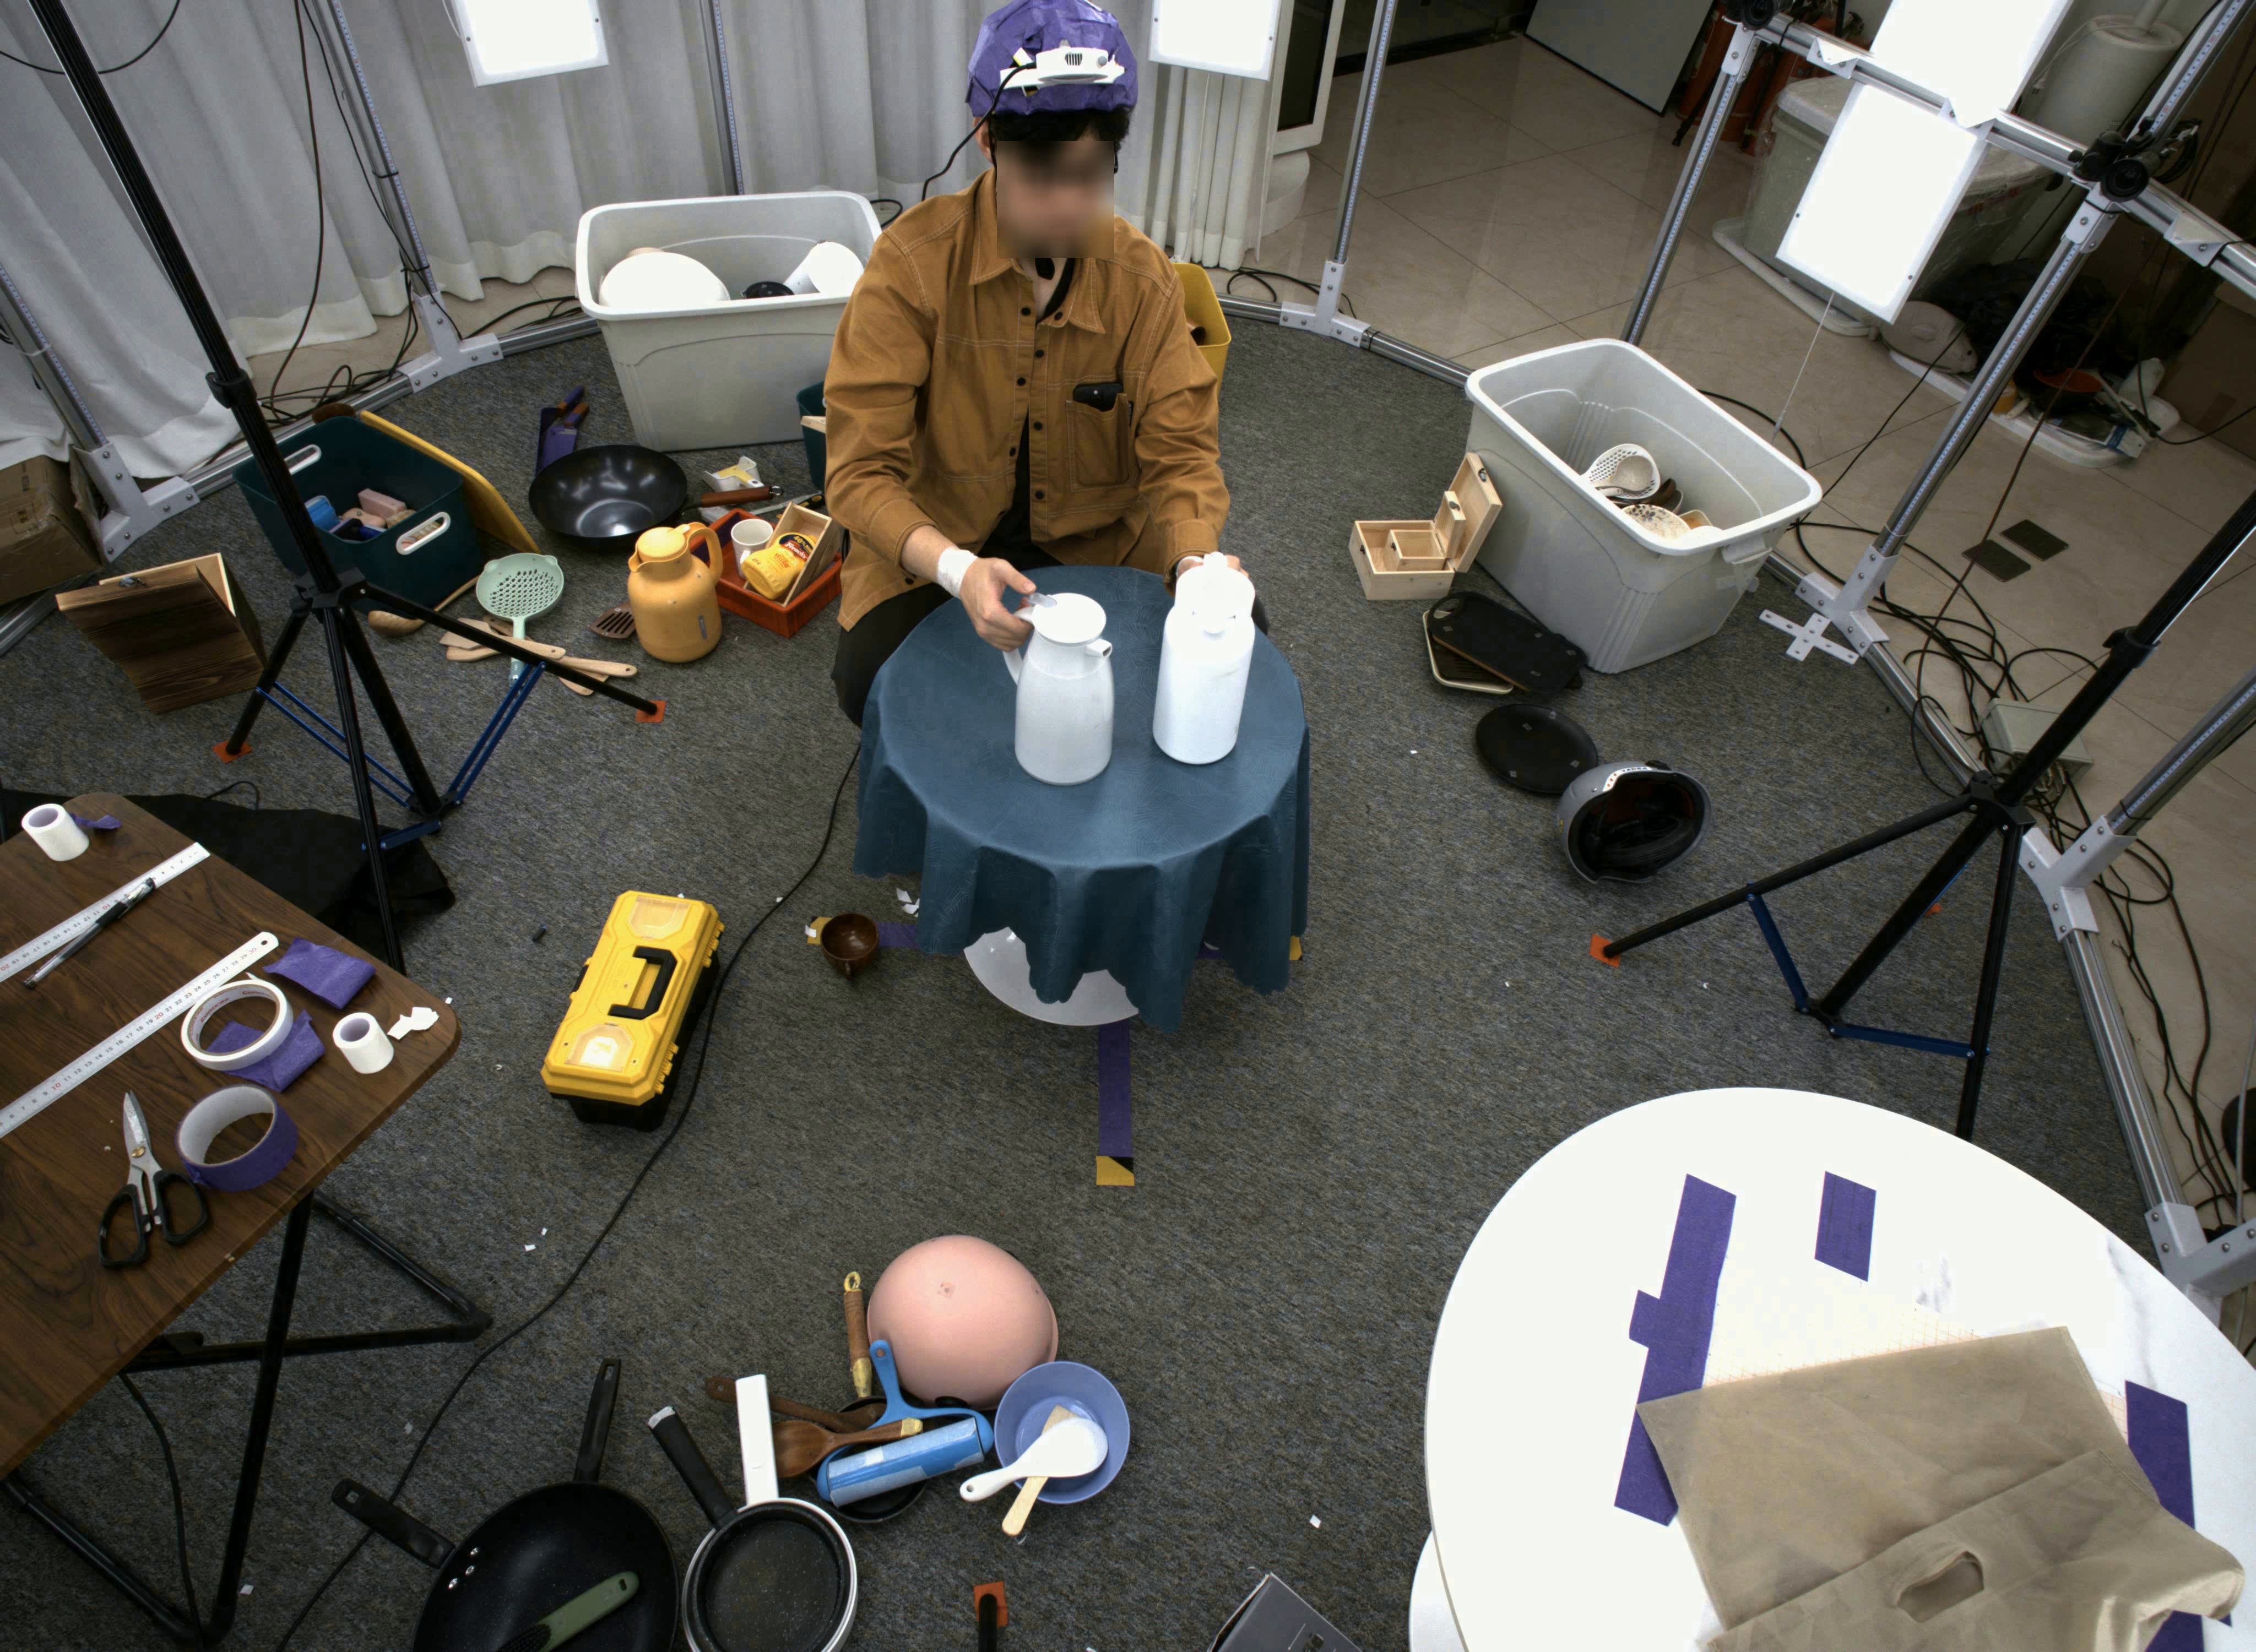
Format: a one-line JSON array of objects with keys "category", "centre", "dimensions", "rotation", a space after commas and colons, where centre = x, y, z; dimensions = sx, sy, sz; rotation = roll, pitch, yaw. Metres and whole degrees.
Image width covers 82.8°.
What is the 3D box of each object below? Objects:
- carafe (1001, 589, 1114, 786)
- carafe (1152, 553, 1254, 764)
[{"category": "carafe", "centre": [-0.097, -0.192, 1.668], "dimensions": [0.170, 0.242, 0.134], "rotation": [32, 54, 23]}, {"category": "carafe", "centre": [0.099, -0.223, 1.696], "dimensions": [0.124, 0.262, 0.177], "rotation": [3, 49, 1]}]
